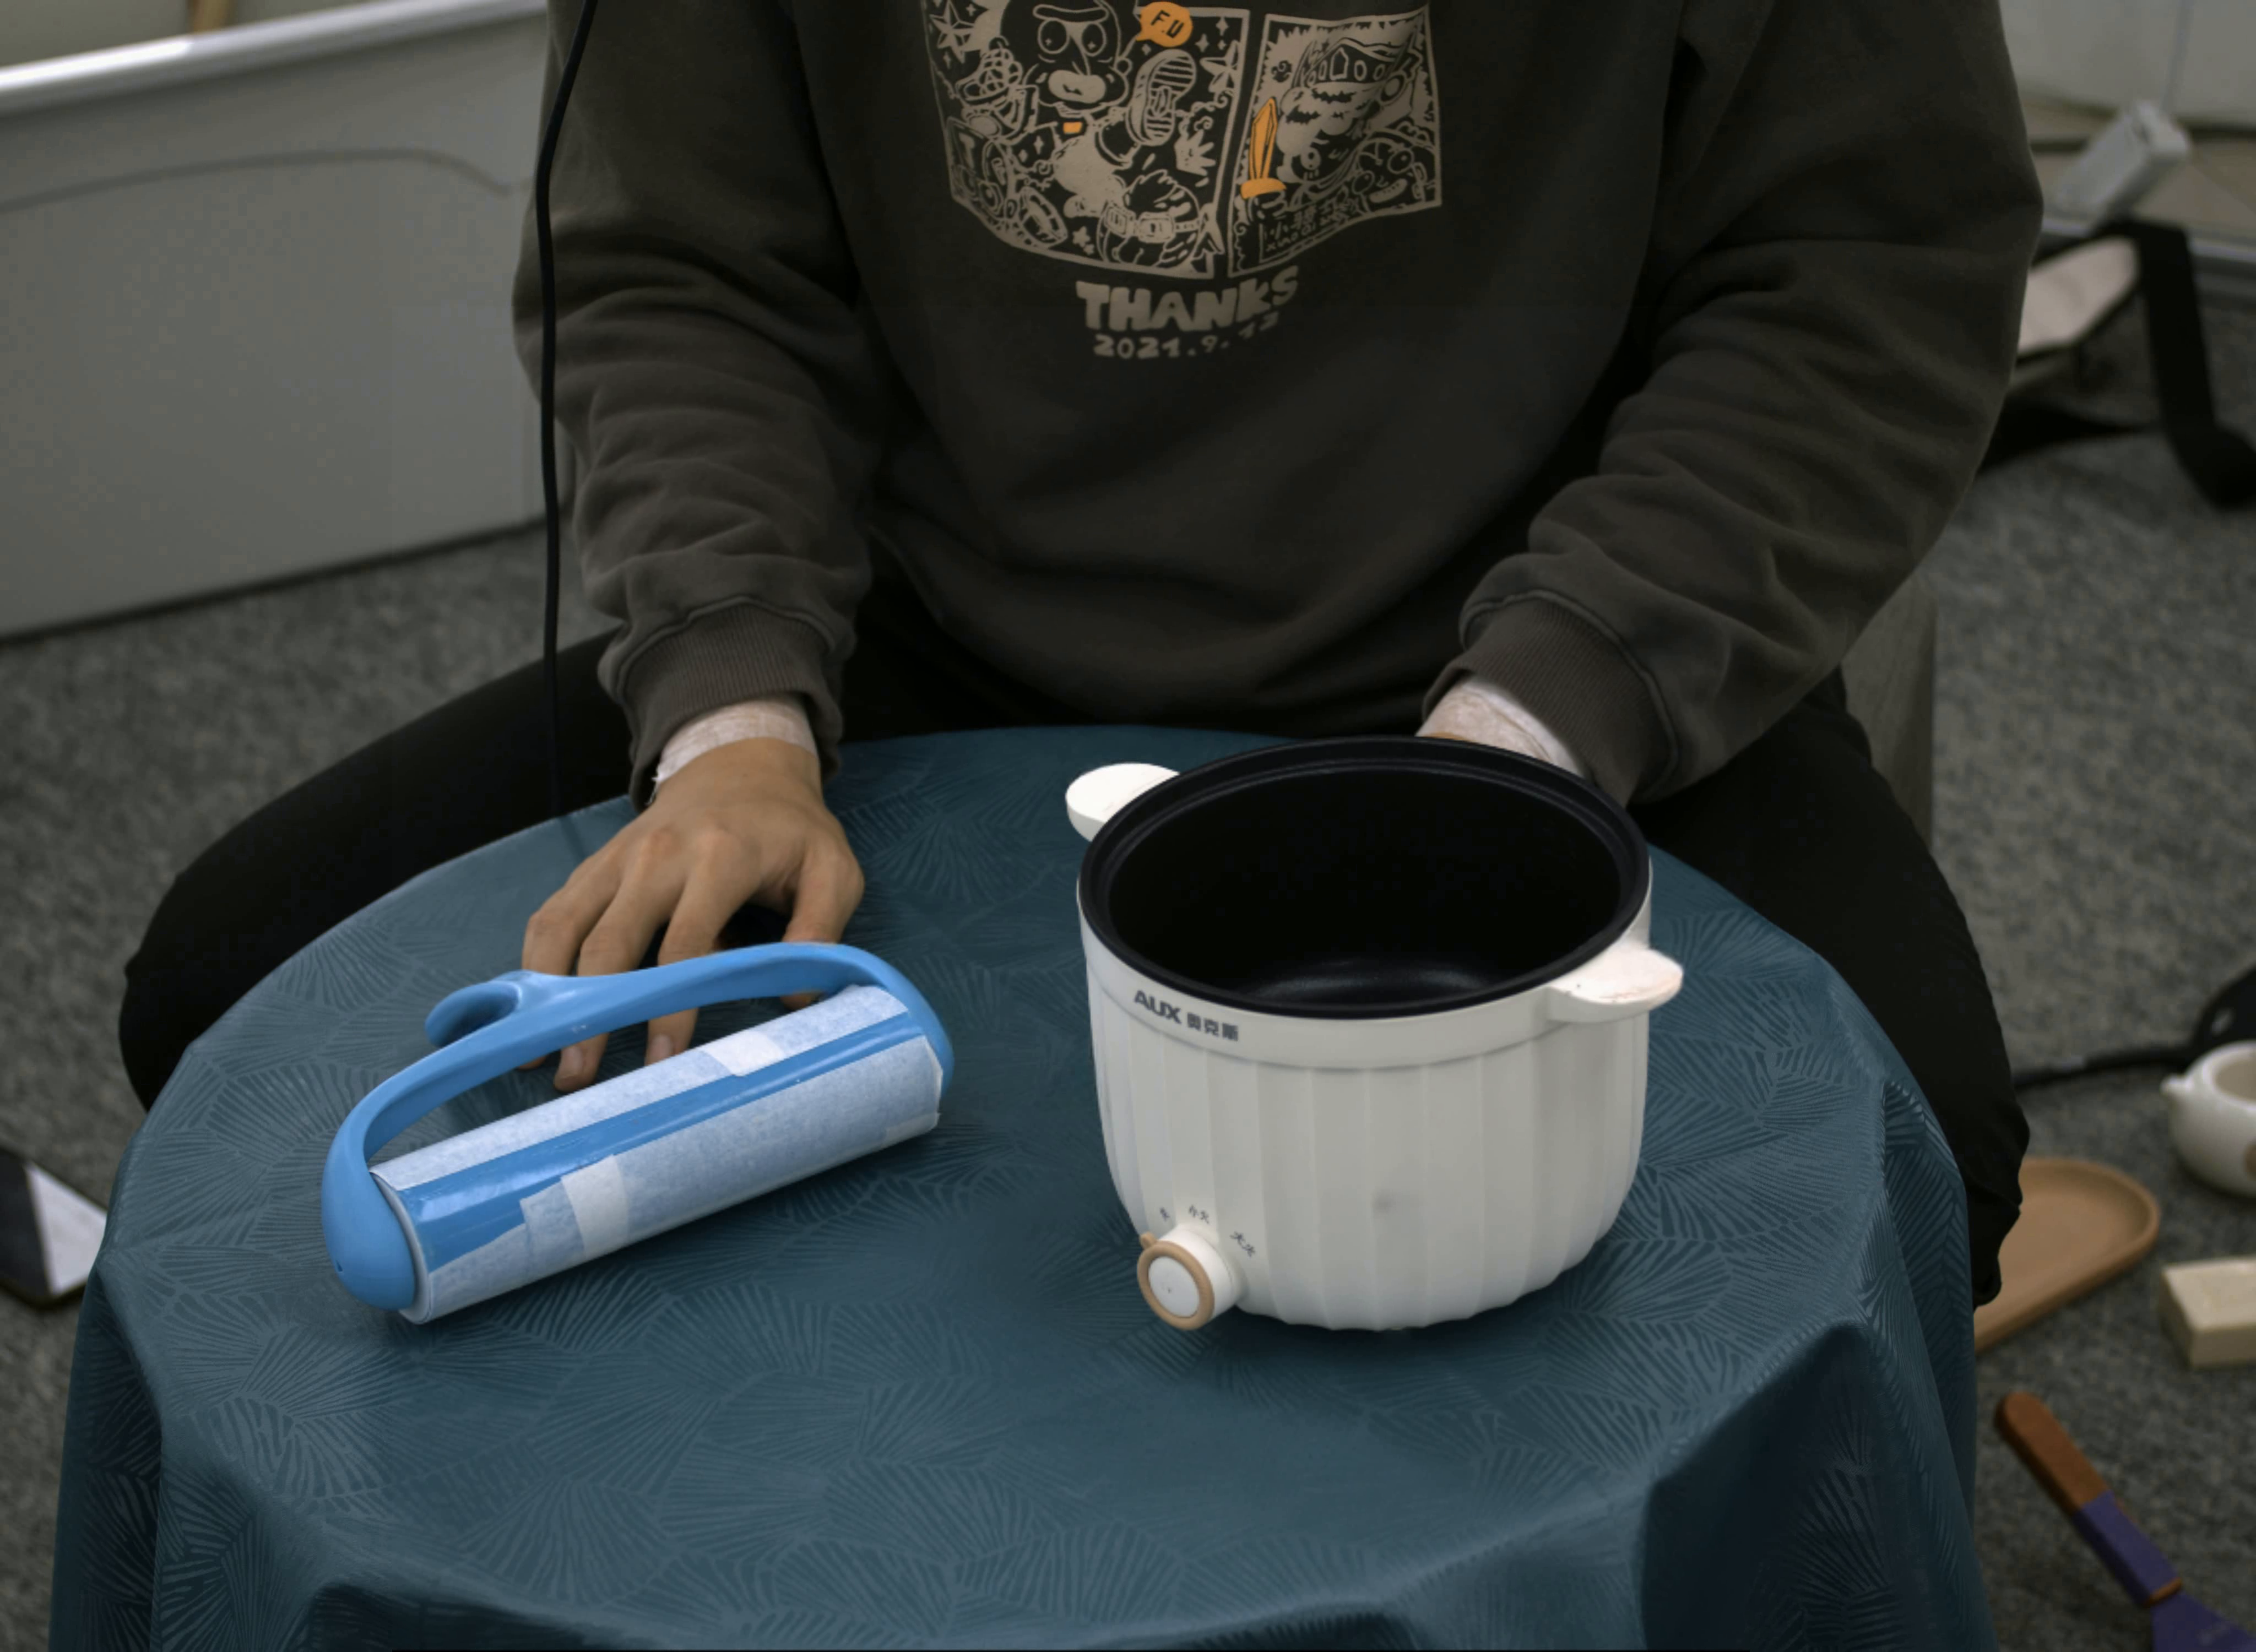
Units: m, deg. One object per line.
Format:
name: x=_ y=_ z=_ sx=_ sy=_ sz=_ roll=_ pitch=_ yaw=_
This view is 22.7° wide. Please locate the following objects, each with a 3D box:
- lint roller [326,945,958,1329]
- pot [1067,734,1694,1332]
lint roller: x=-0.190 y=0.085 z=1.888 sx=0.231 sy=0.067 sz=0.181 roll=-22 pitch=34 yaw=-30
pot: x=0.076 y=0.073 z=1.797 sx=0.239 sy=0.141 sz=0.193 roll=18 pitch=31 yaw=37
